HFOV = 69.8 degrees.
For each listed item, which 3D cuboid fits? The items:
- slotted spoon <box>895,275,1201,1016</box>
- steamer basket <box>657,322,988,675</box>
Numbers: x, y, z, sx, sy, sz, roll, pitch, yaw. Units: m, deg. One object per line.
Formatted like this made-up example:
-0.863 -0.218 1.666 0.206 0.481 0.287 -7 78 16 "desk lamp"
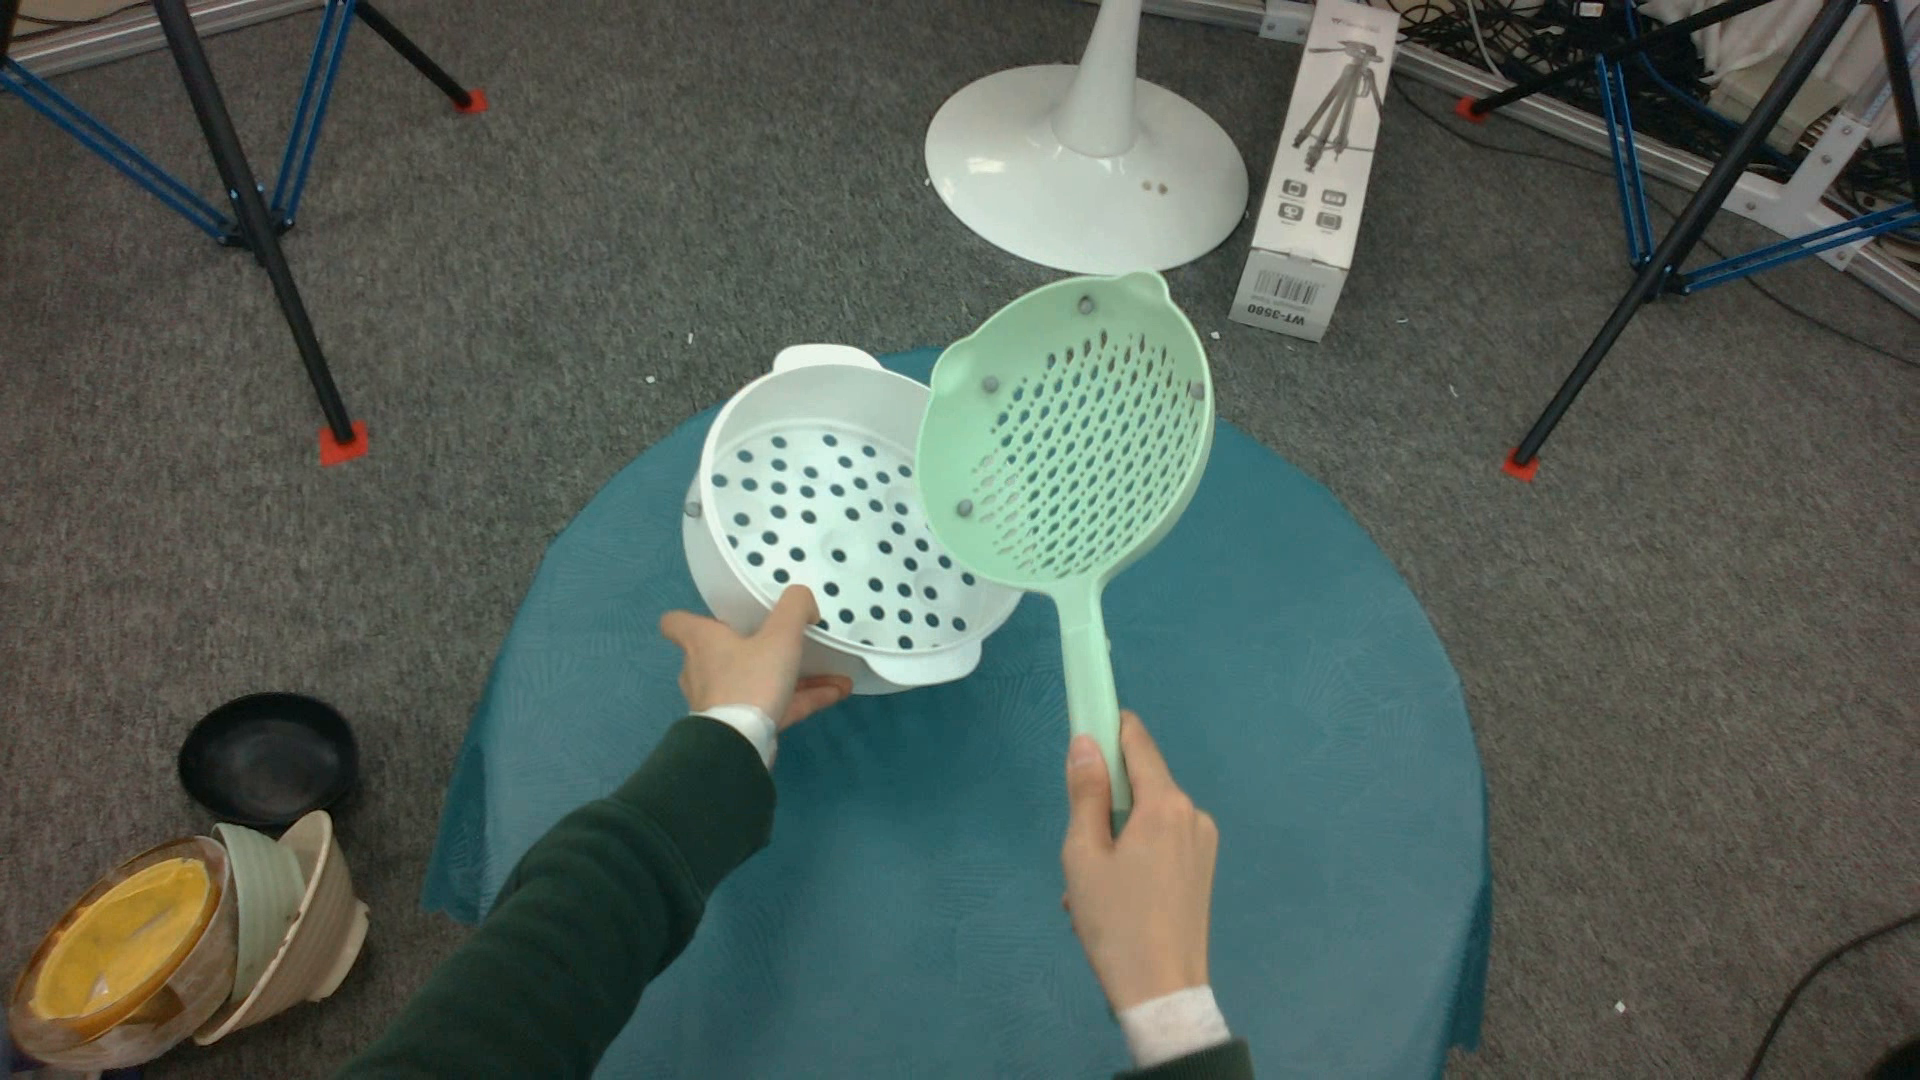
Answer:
0.055 0.037 0.664 0.169 0.075 0.360 -19 54 25 "slotted spoon"
-0.075 -0.018 0.800 0.202 0.069 0.231 -7 63 -32 "steamer basket"
